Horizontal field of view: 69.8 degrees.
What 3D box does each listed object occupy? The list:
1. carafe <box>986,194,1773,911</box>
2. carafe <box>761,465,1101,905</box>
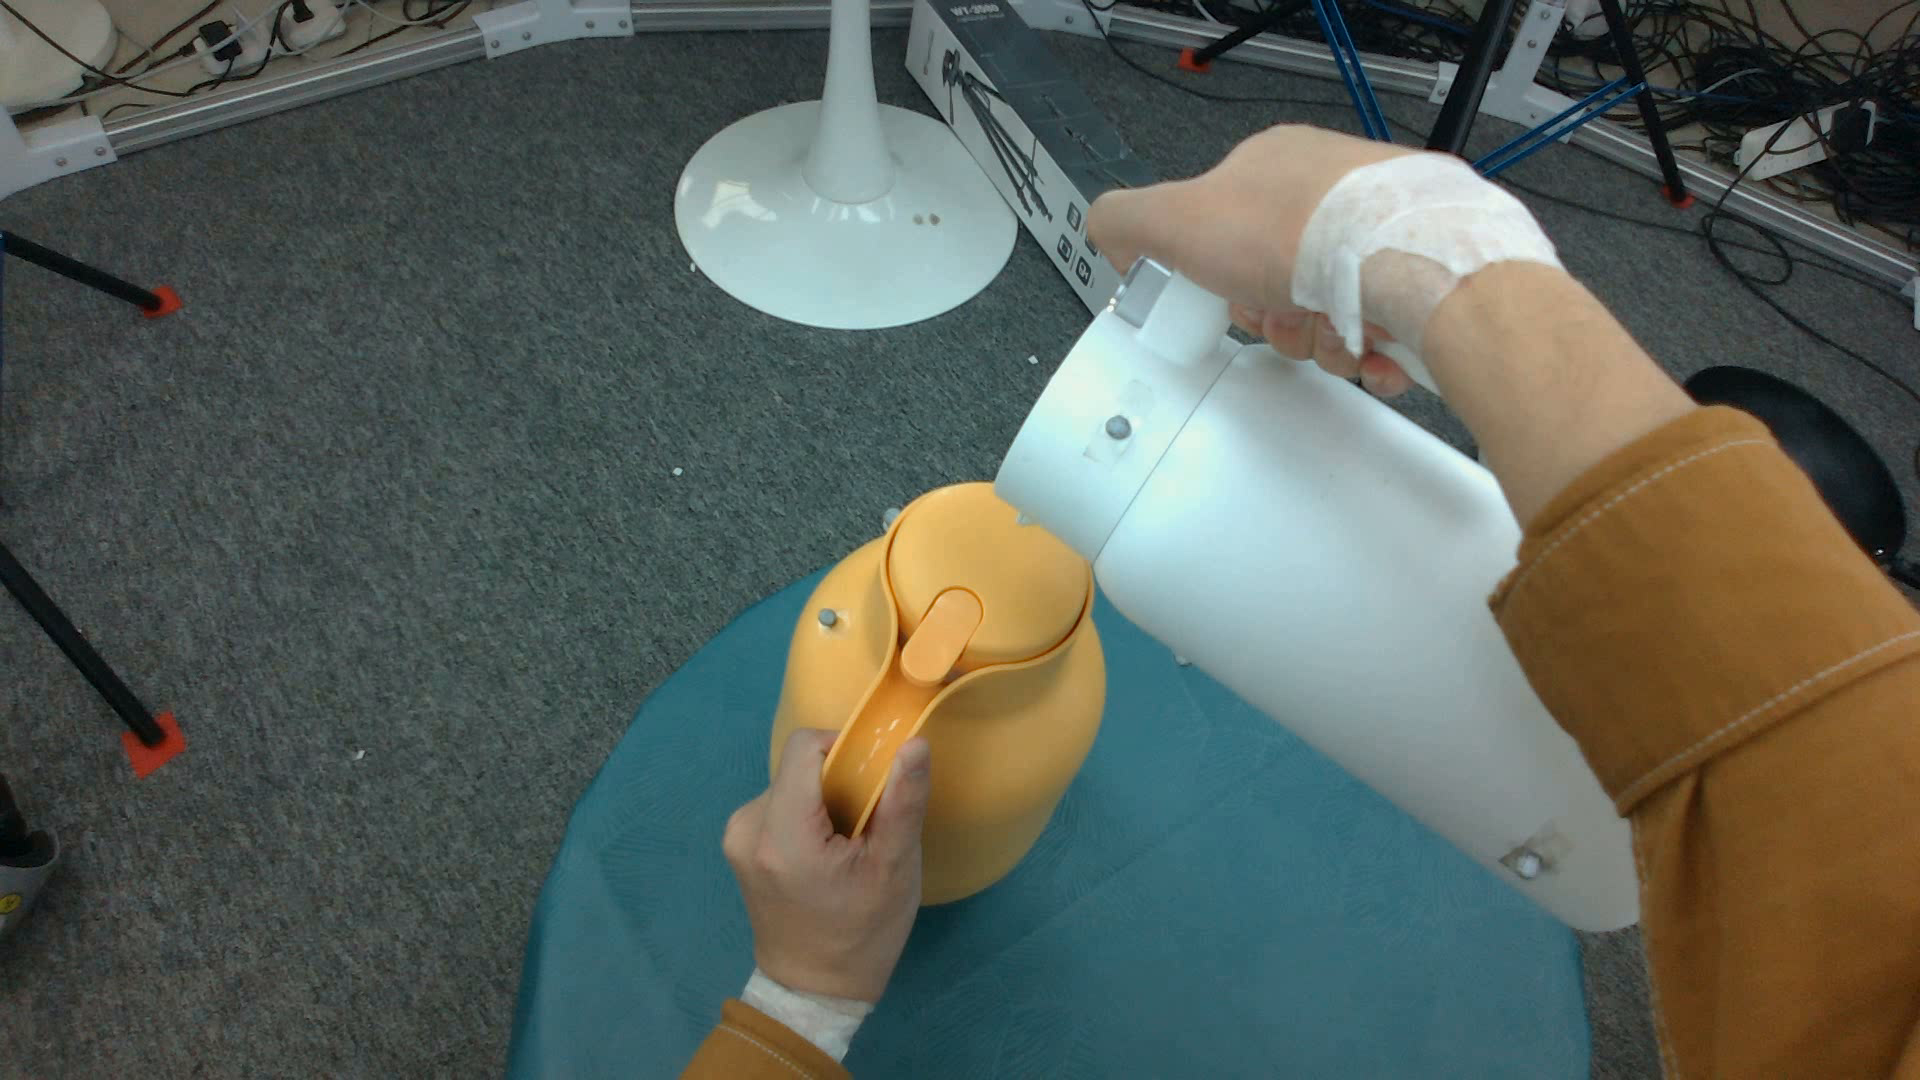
[{"bbox_3d":[0.152,0.001,0.498,0.269,0.172,0.124,36,42,7],"label":"carafe"},{"bbox_3d":[-0.023,0.083,0.688,0.163,0.259,0.203,31,54,11],"label":"carafe"}]
